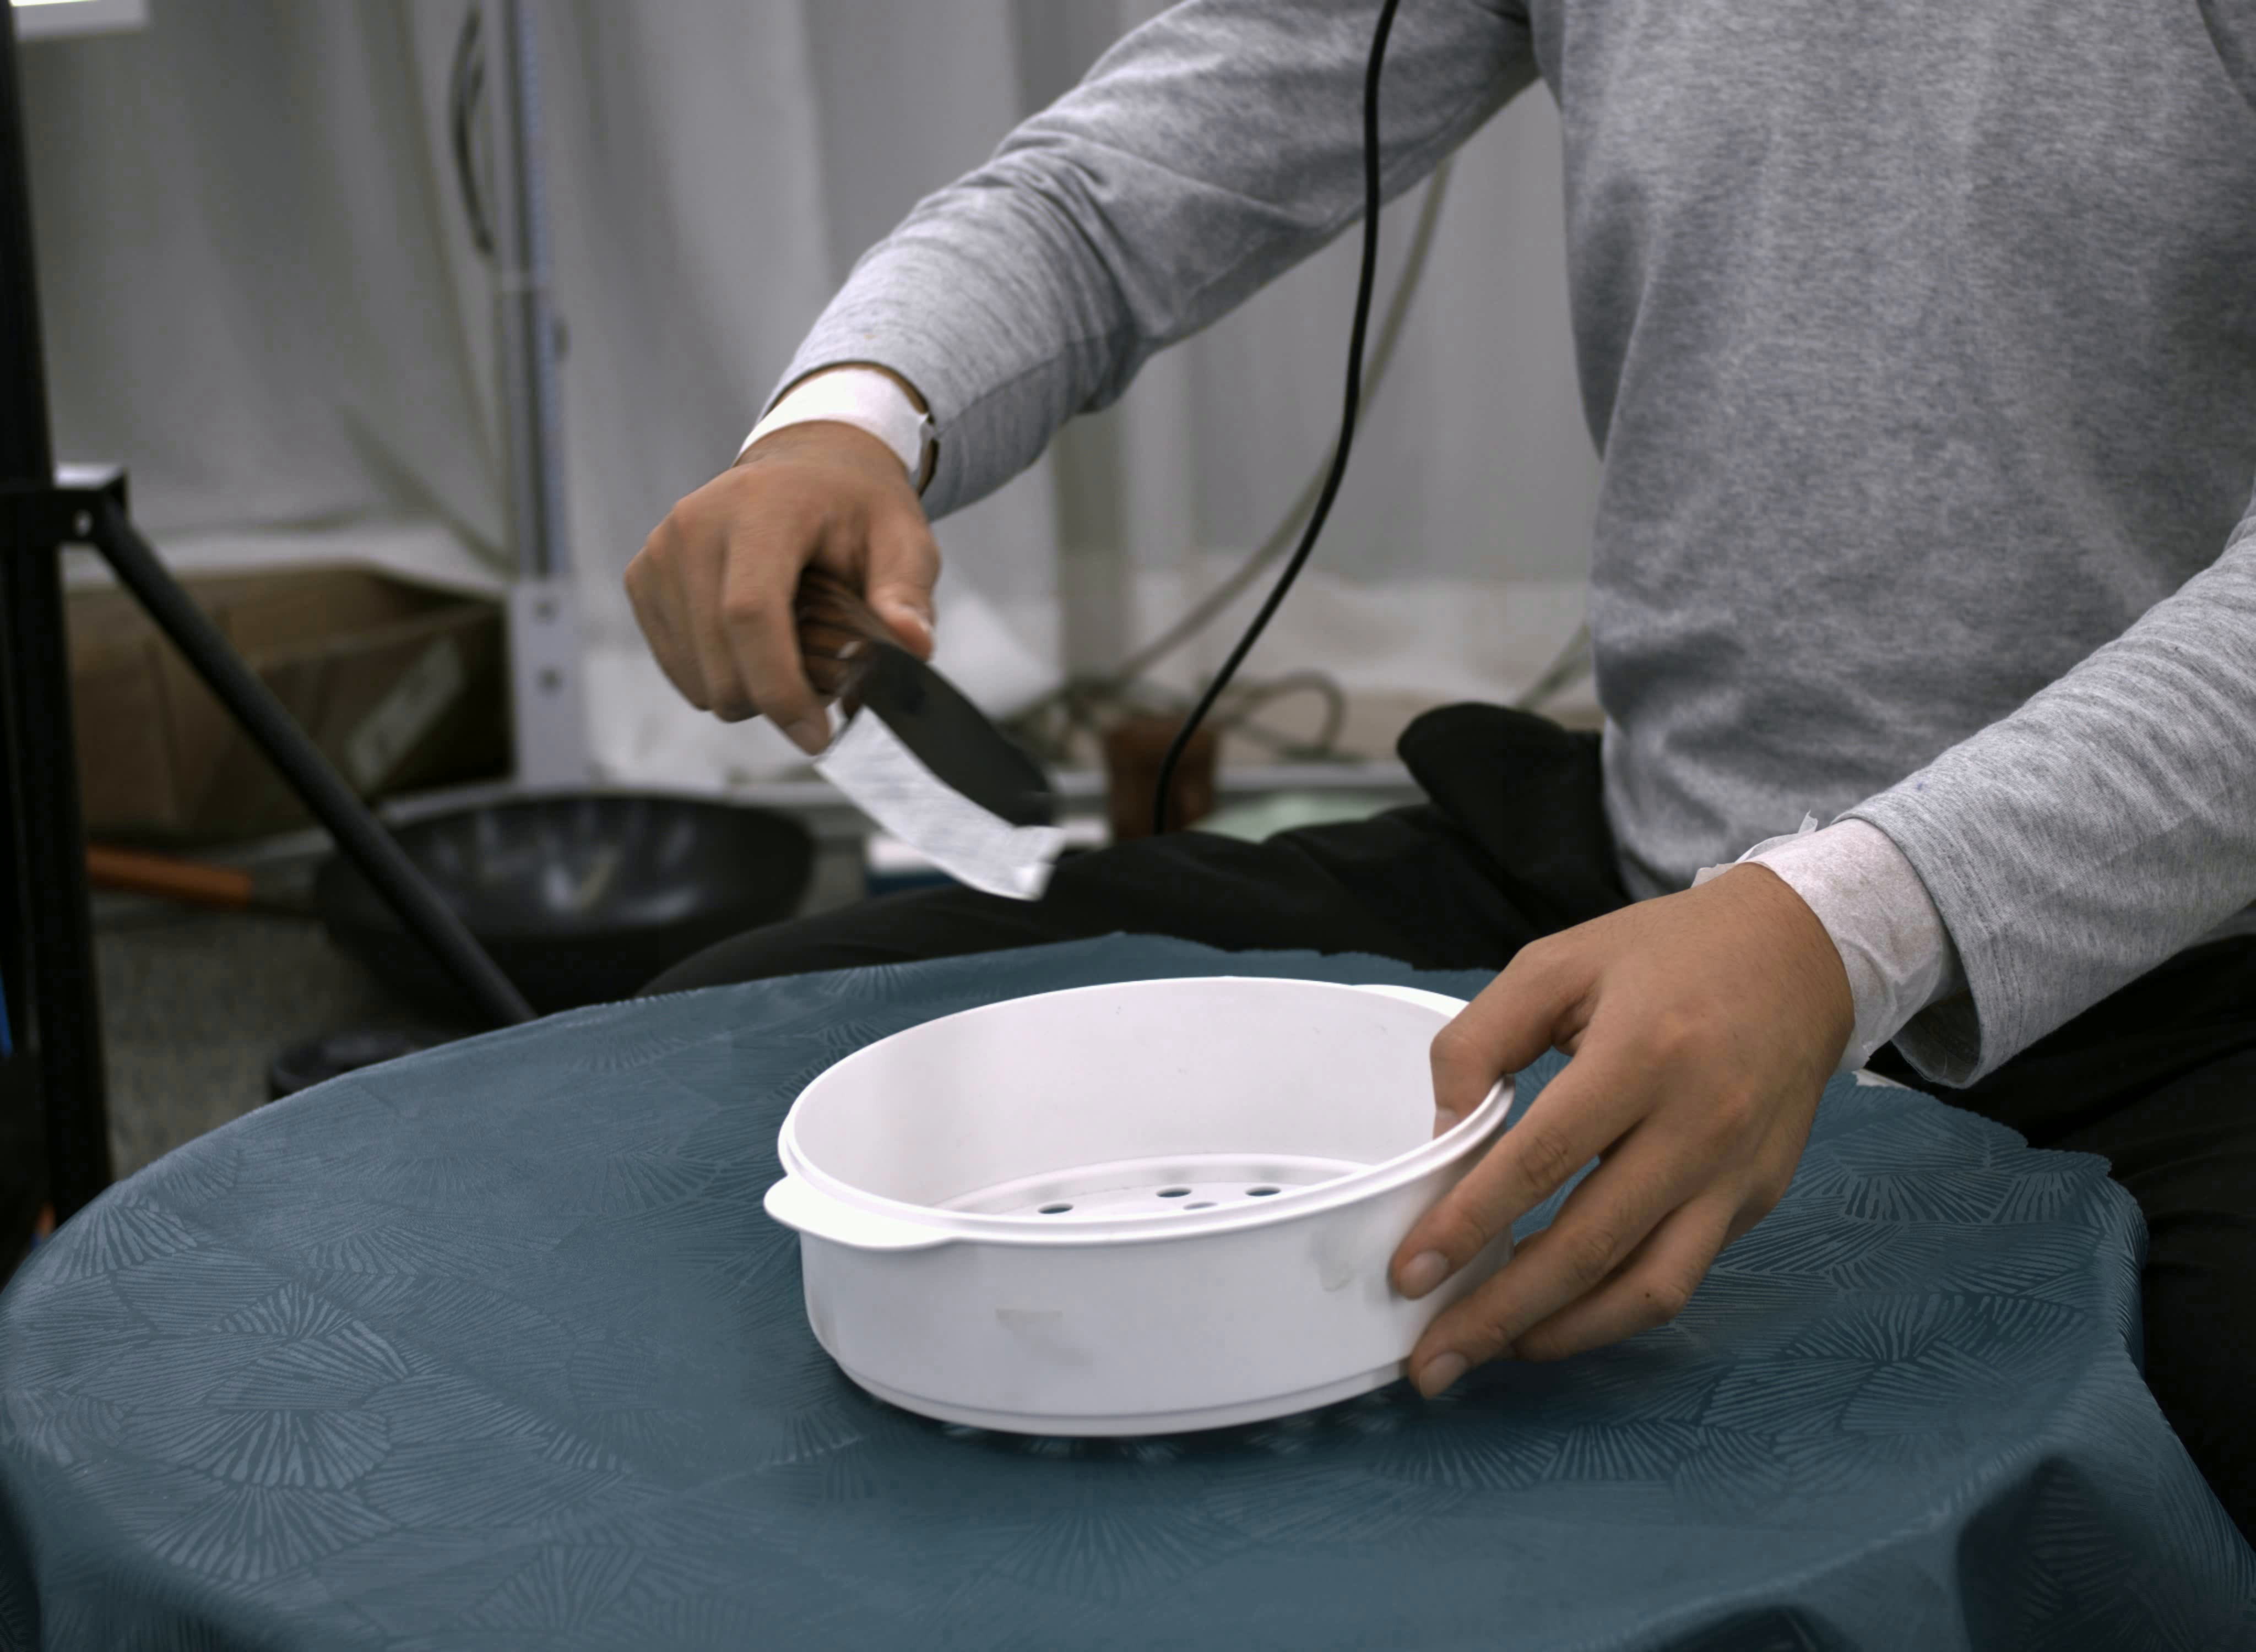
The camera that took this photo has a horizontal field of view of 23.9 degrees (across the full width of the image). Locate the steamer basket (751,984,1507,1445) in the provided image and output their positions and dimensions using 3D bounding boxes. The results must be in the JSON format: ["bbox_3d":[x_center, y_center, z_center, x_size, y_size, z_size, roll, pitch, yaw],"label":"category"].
[{"bbox_3d":[0.004,0.105,1.439,0.225,0.069,0.206,-16,19,-35],"label":"steamer basket"}]

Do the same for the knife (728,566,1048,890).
[{"bbox_3d":[-0.070,-0.030,1.520,0.019,0.050,0.294,39,2,-24],"label":"knife"}]
